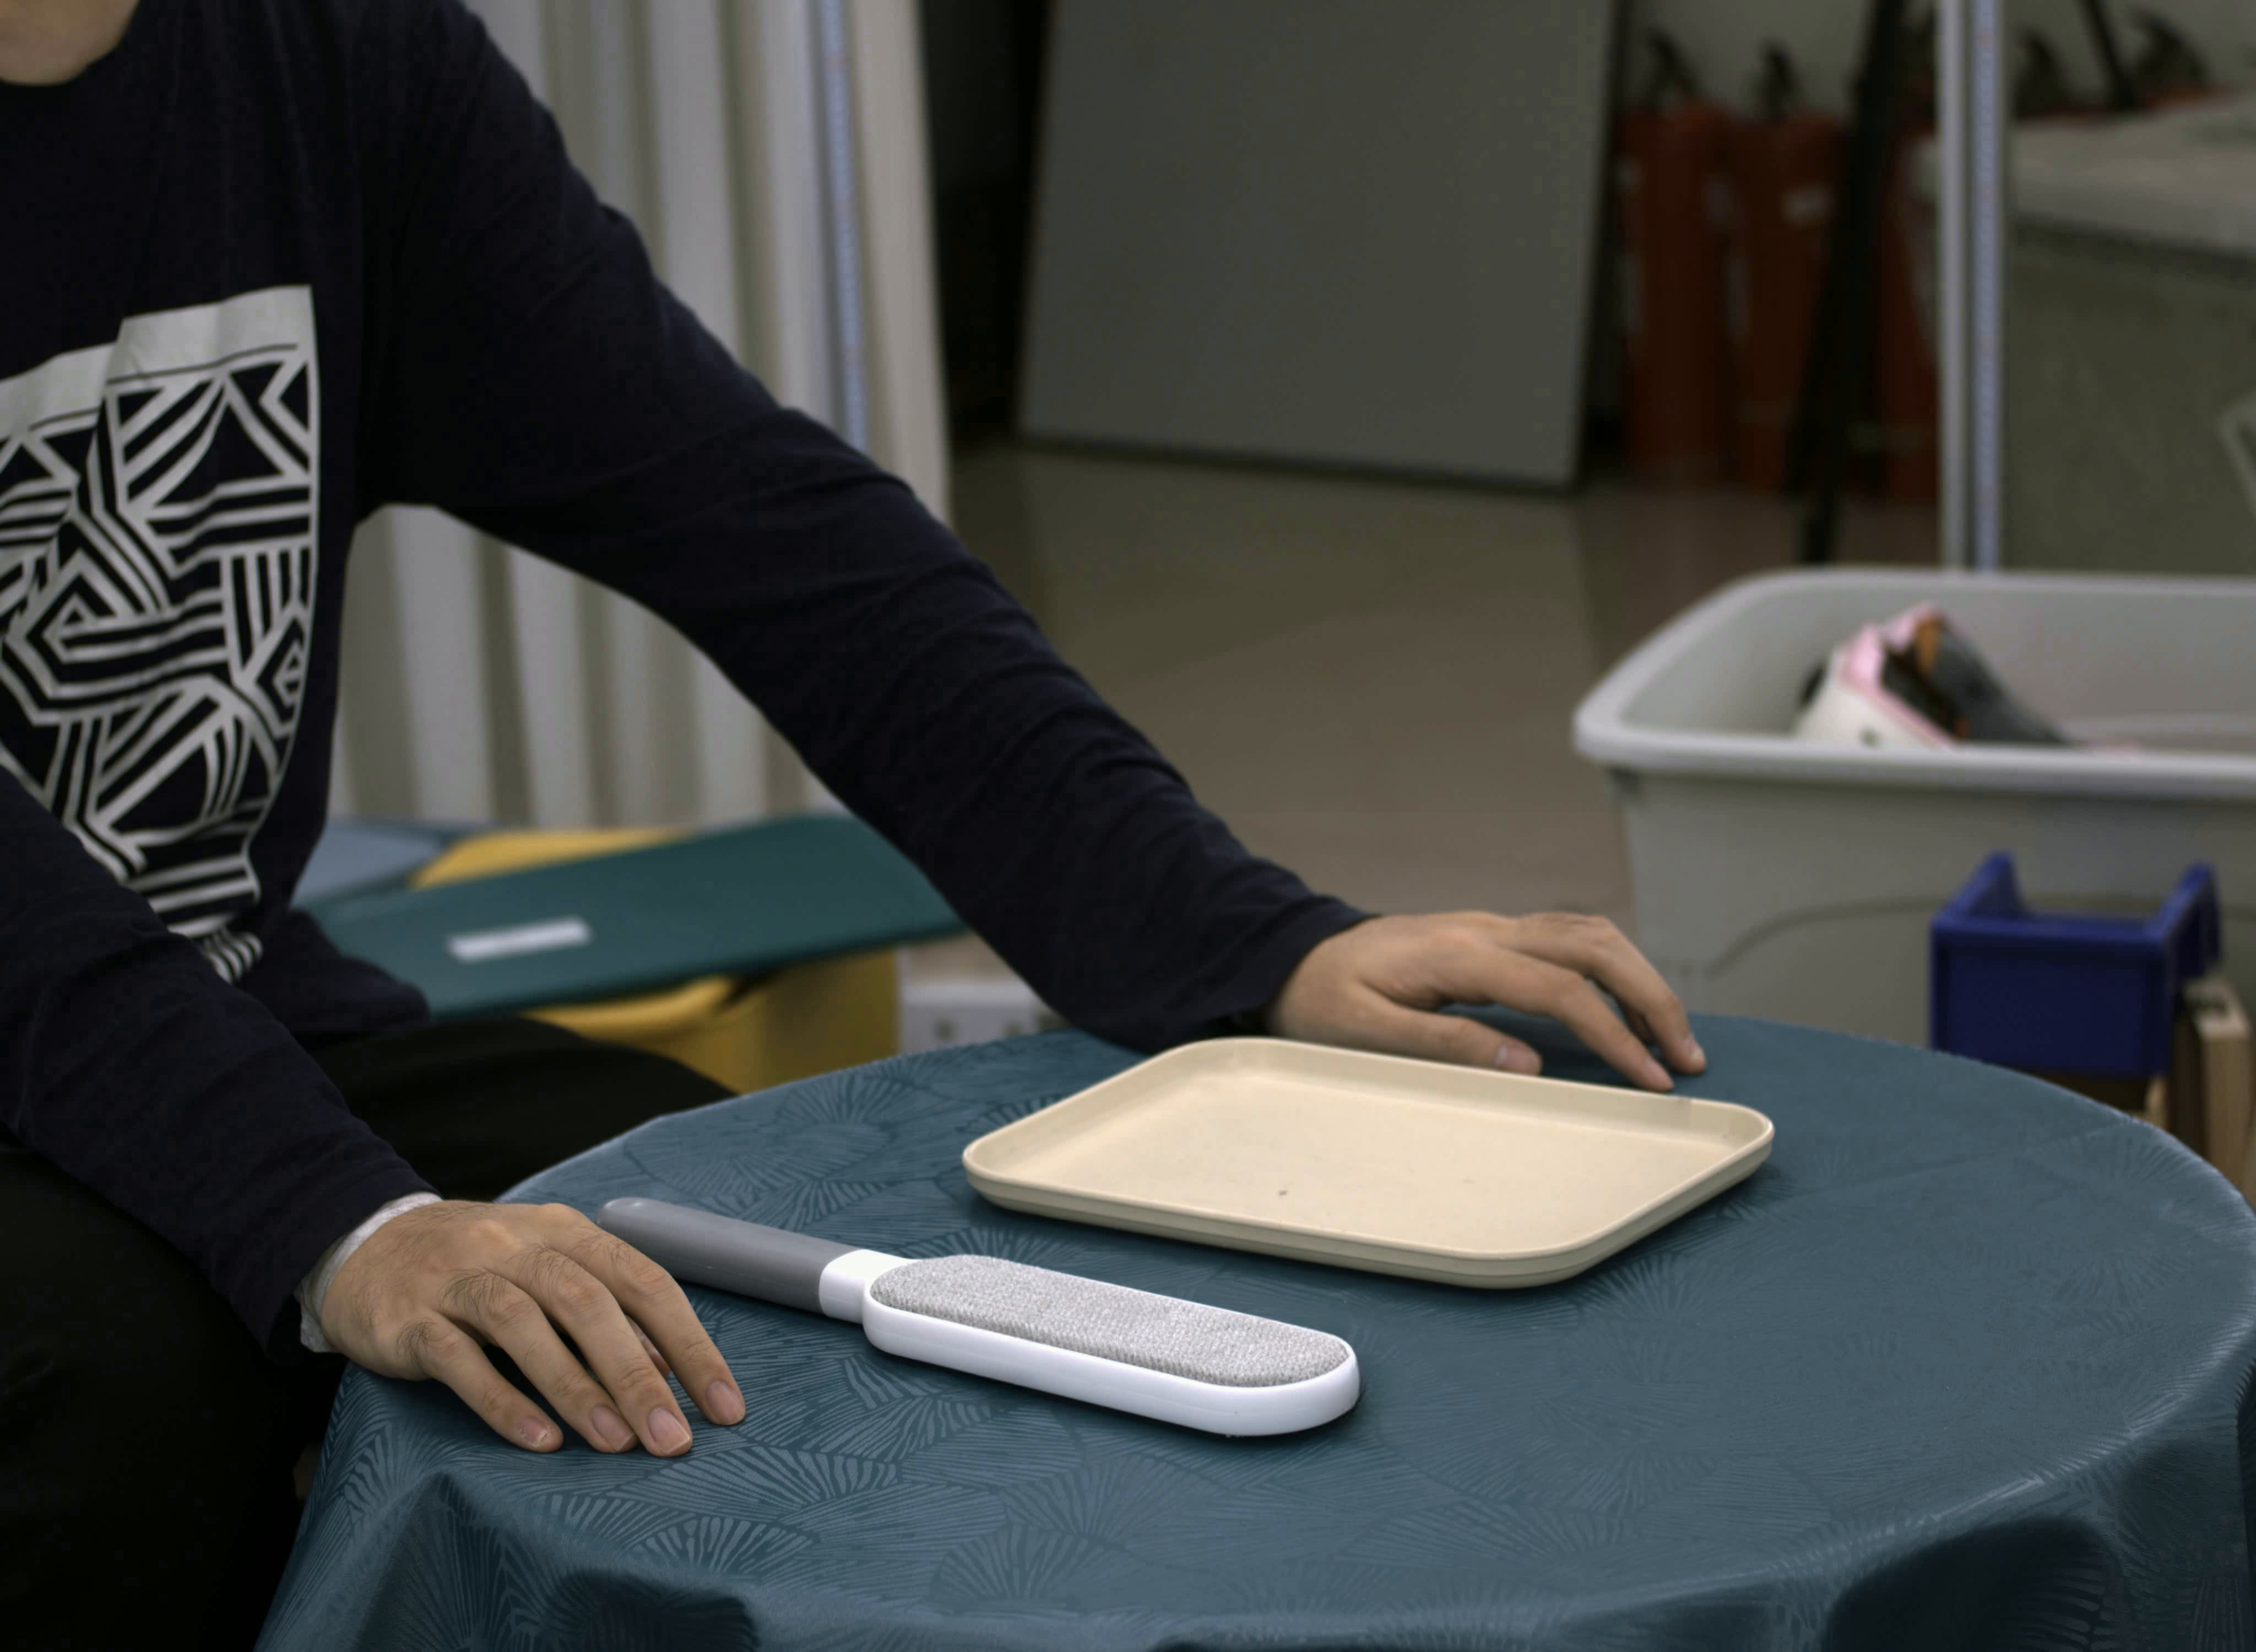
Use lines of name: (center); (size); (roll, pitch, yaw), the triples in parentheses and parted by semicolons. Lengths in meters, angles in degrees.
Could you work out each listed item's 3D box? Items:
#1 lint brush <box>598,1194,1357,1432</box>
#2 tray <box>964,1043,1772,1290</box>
lint brush: (-0.053, 0.144, 1.640); (0.311, 0.021, 0.059); (8, 24, 43)
tray: (0.078, 0.110, 1.760); (0.241, 0.017, 0.168); (6, 17, 36)
